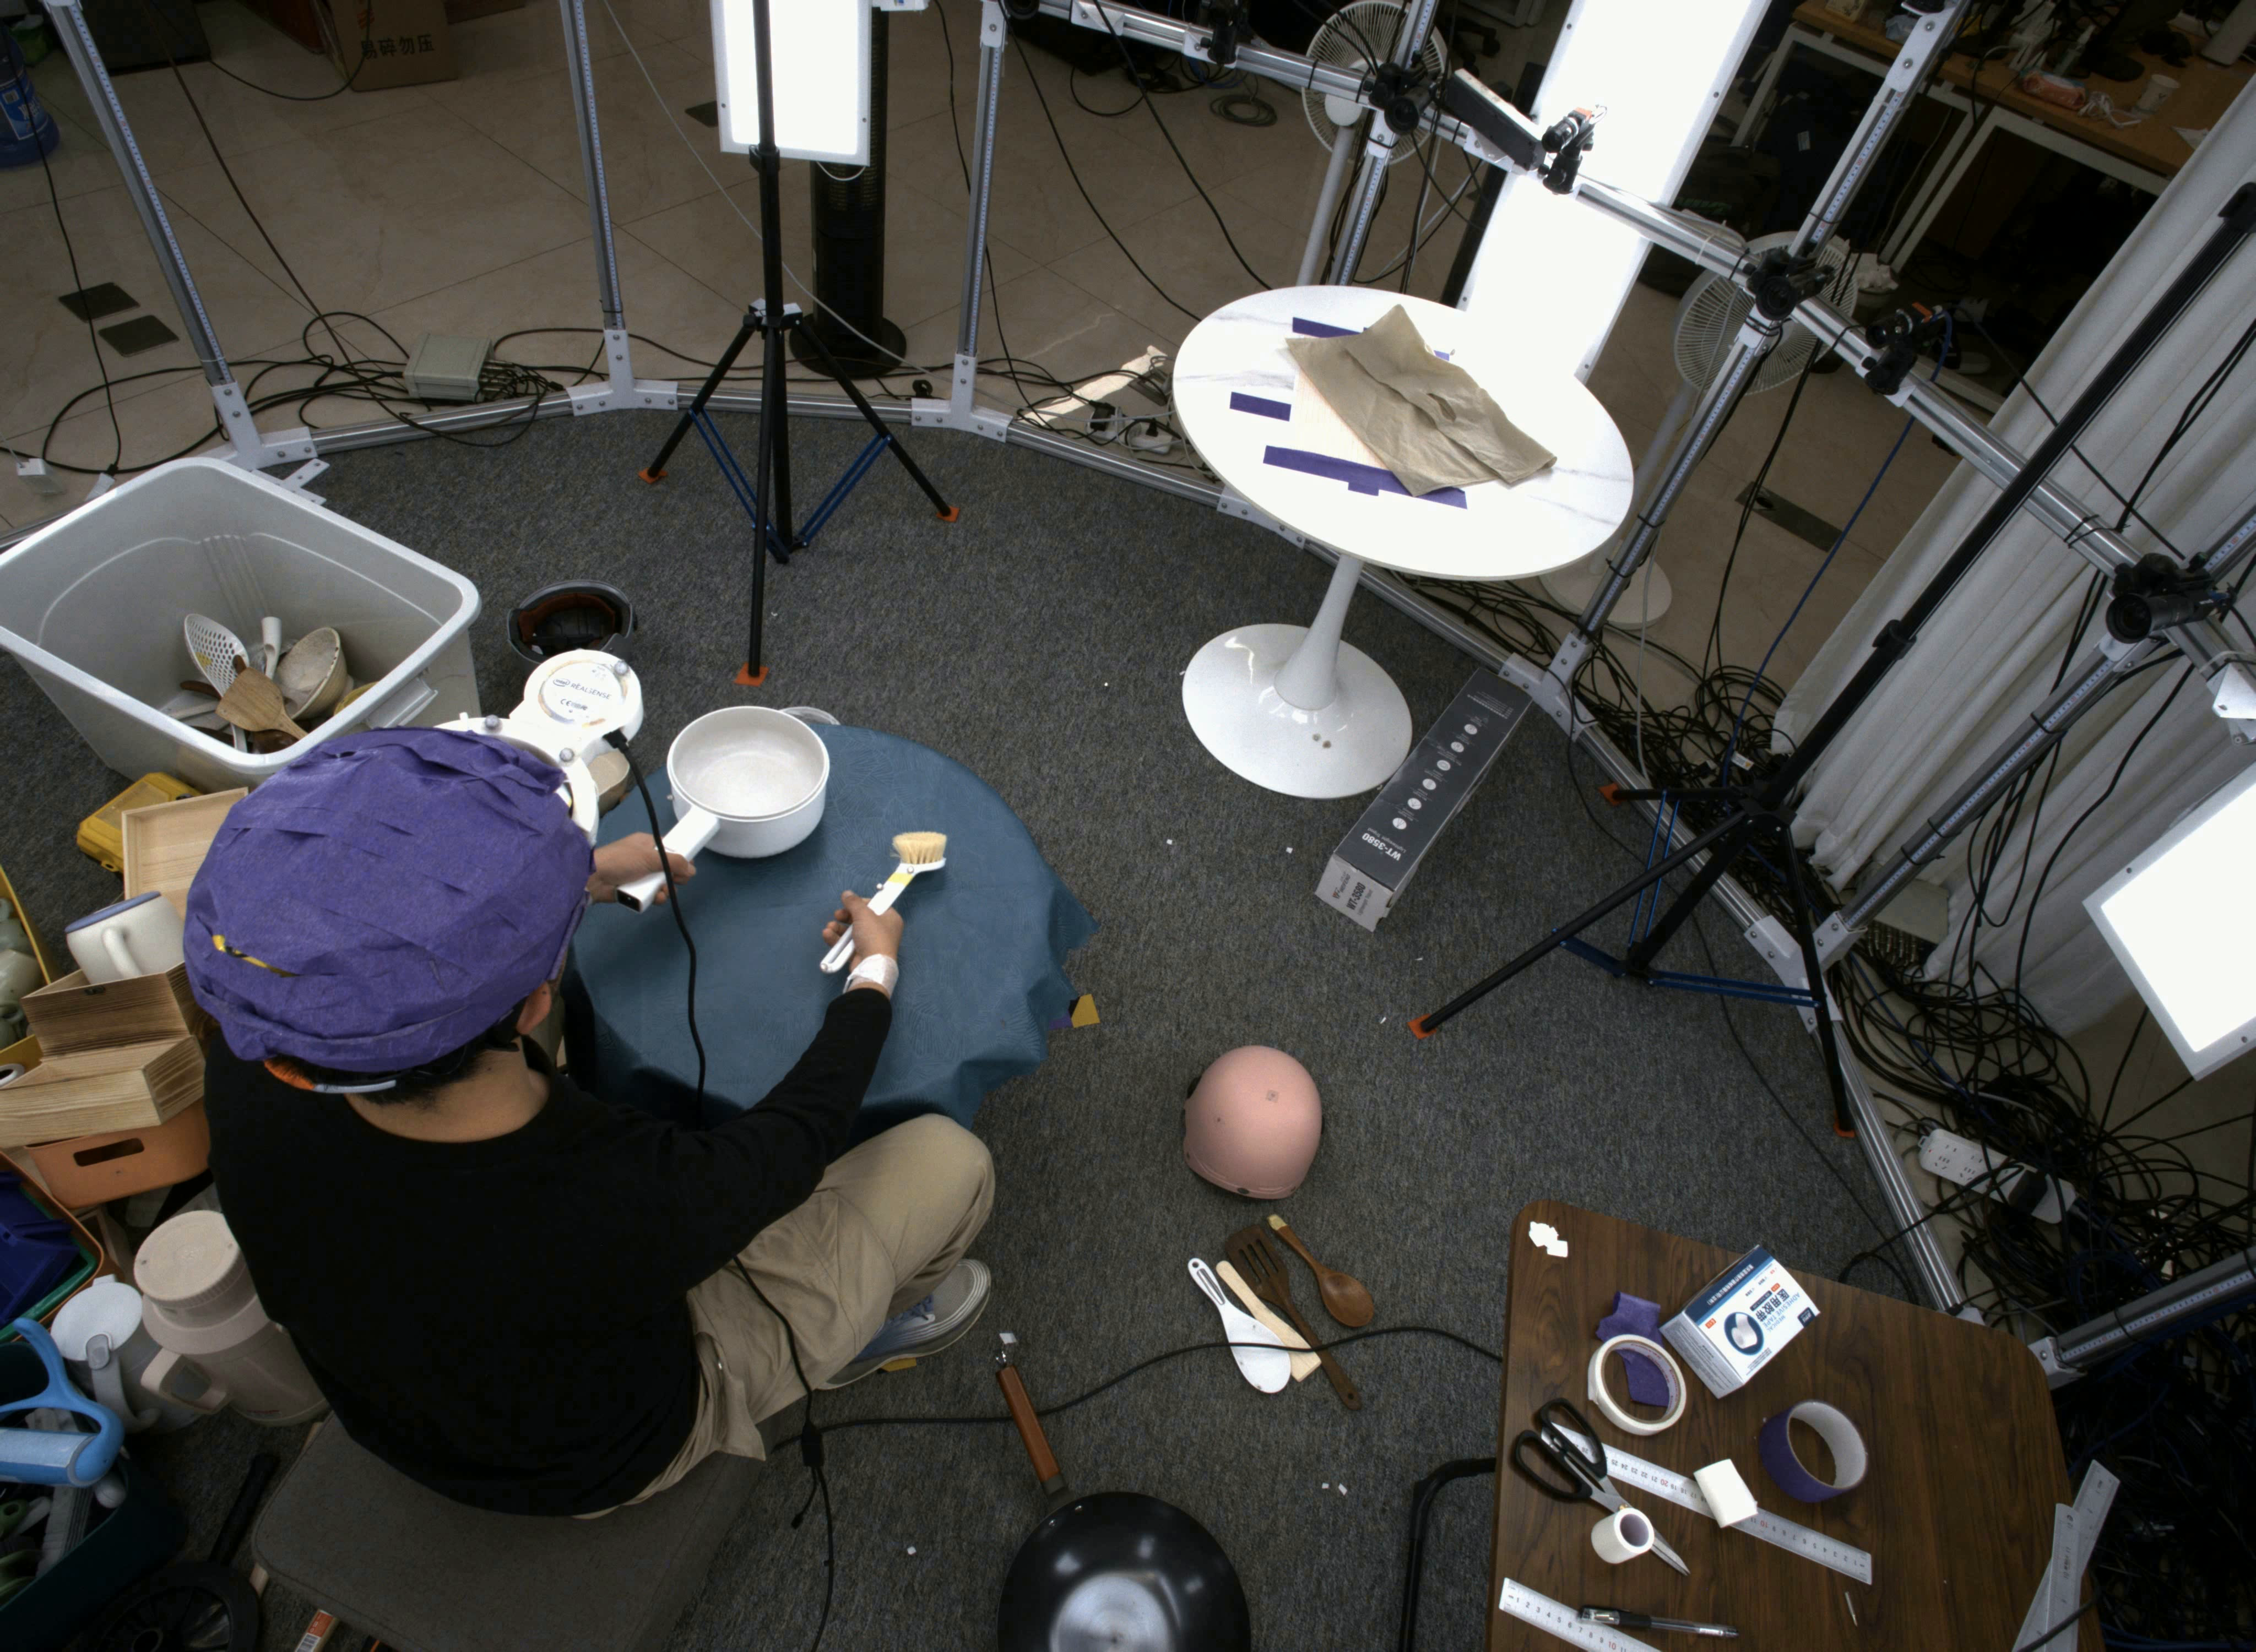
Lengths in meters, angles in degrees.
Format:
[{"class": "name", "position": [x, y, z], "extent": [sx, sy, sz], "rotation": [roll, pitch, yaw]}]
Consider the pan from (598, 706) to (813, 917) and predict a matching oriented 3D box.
[{"class": "pan", "position": [-0.537, -0.001, 1.614], "extent": [0.199, 0.104, 0.352], "rotation": [25, 48, 4]}]

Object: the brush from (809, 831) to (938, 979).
[{"class": "brush", "position": [-0.319, 0.085, 1.610], "extent": [0.066, 0.058, 0.265], "rotation": [4, 34, 27]}]
